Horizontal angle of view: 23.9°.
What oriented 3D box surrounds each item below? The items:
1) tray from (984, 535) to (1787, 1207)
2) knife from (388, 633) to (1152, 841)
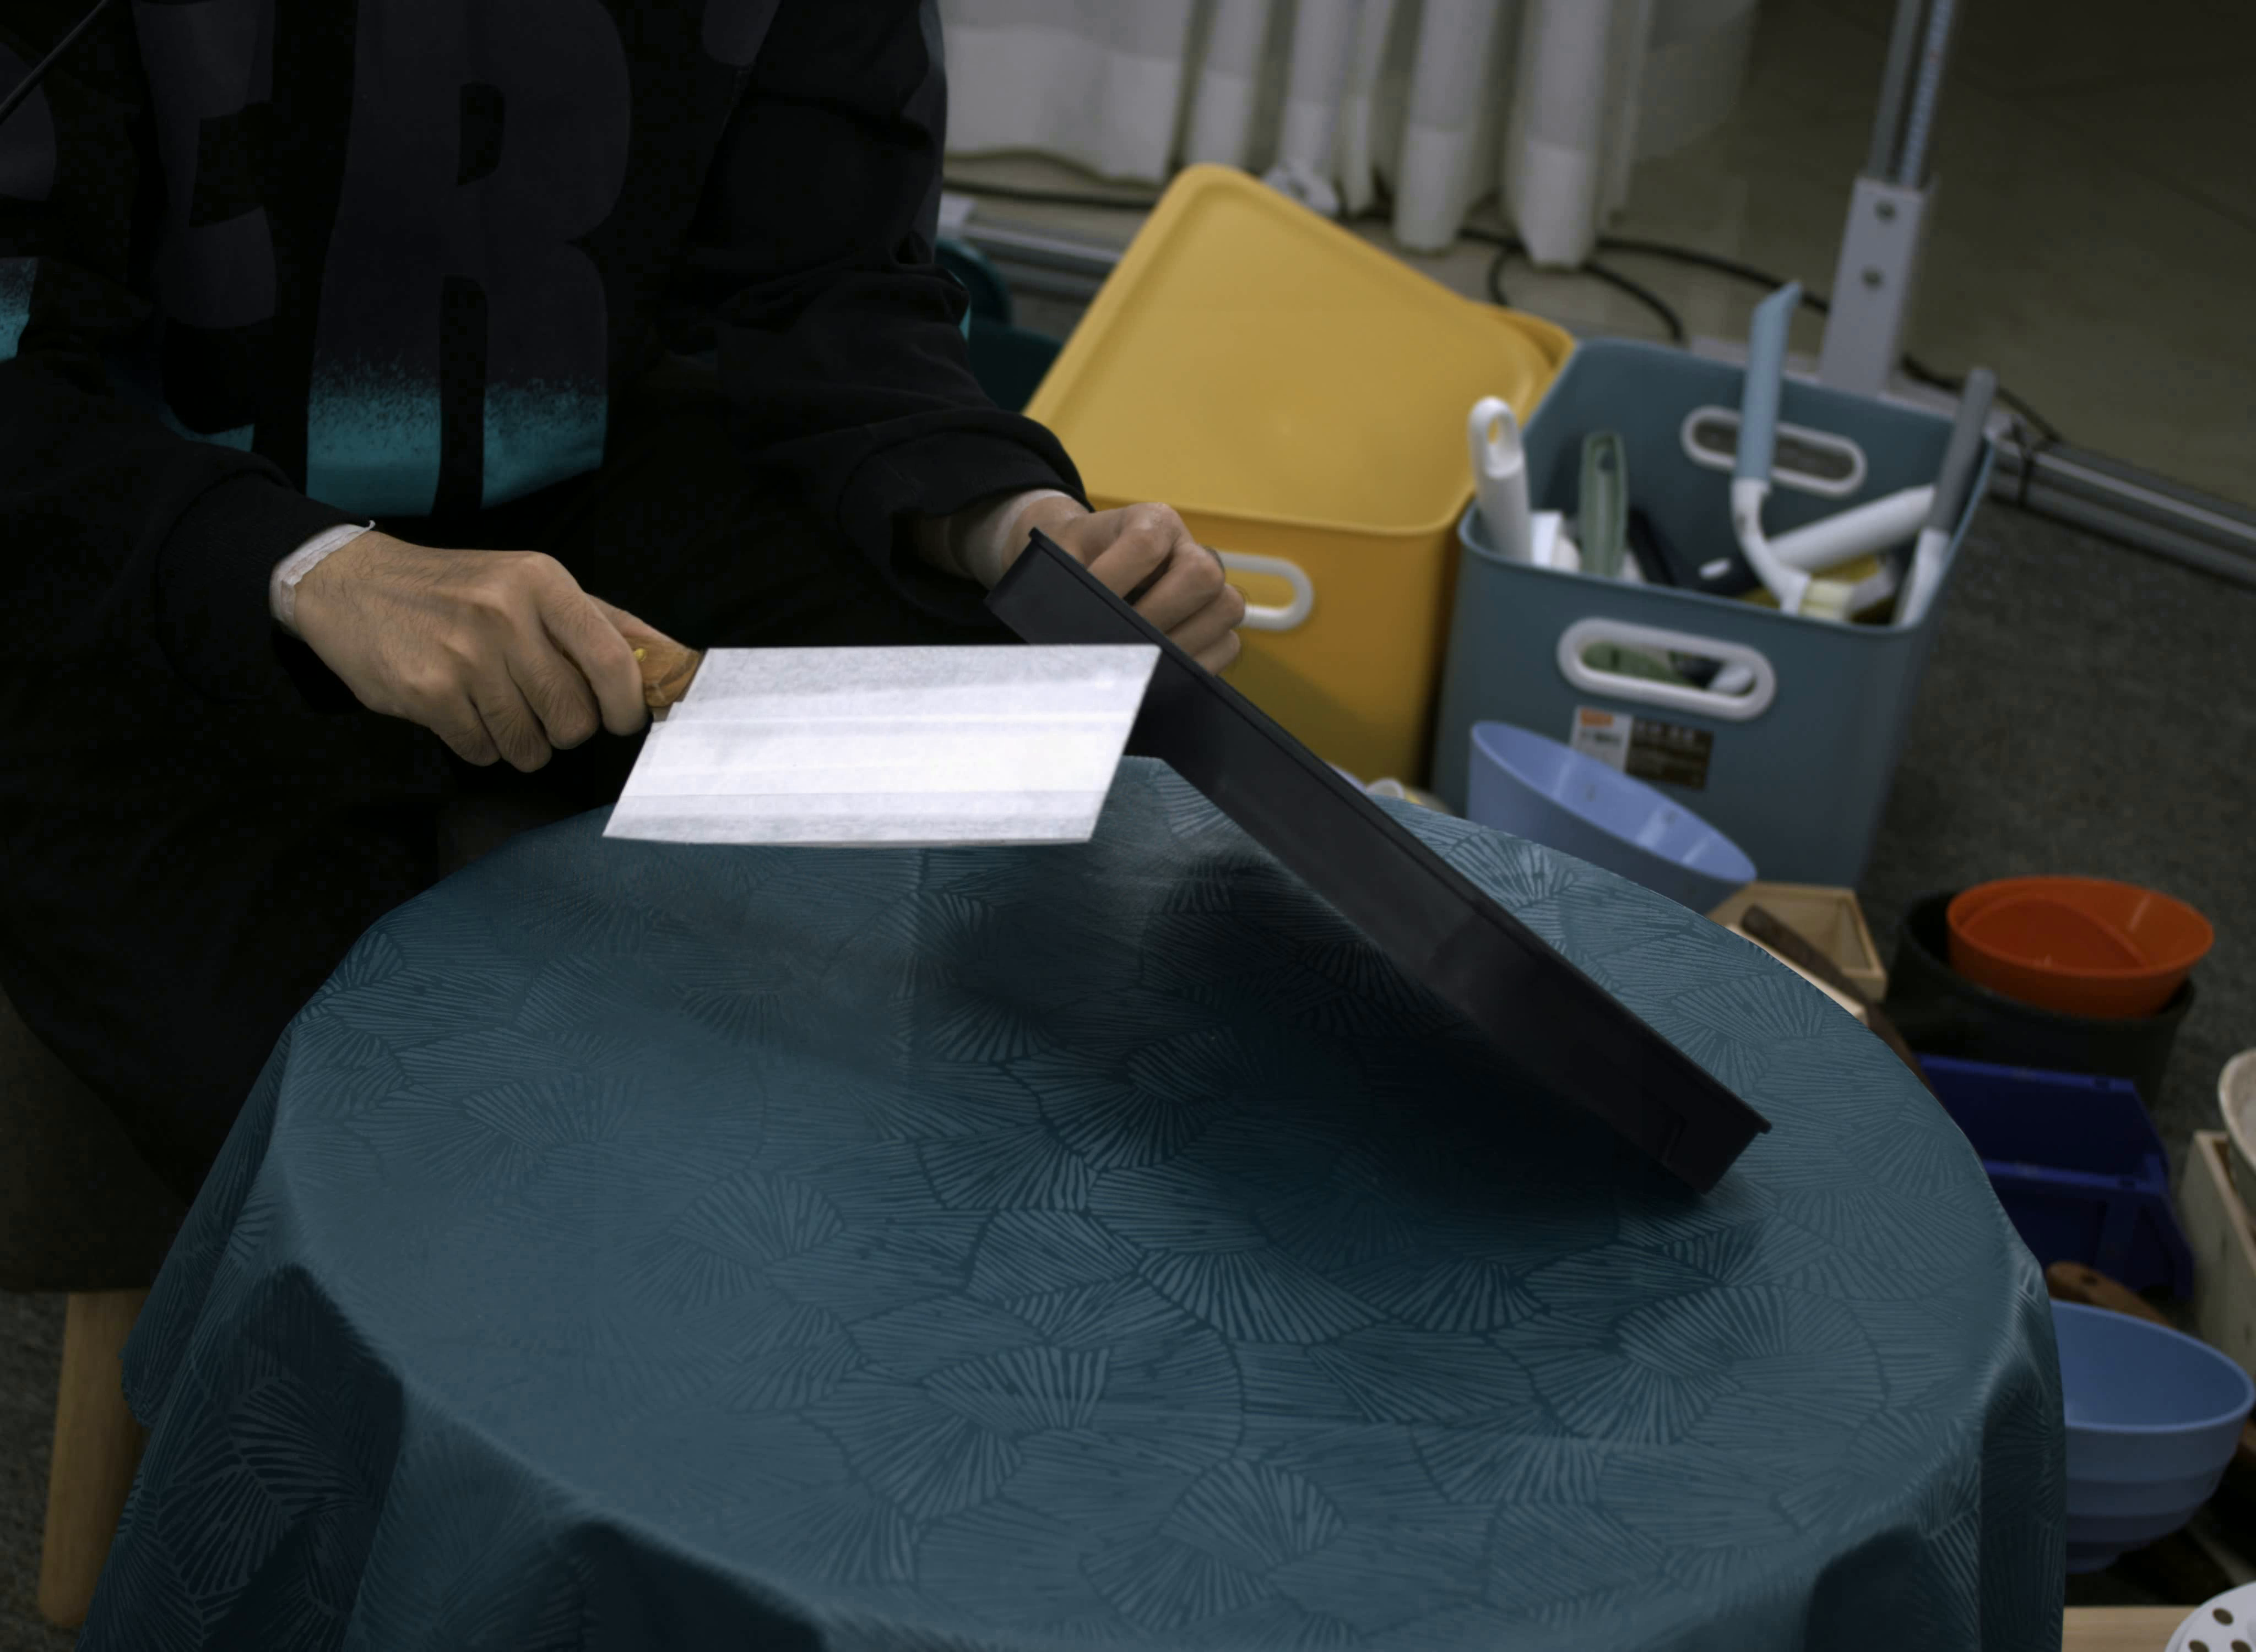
[{"bbox_3d":[0.086,0.013,1.877,0.182,0.037,0.321,36,4,-46],"label":"tray"},{"bbox_3d":[-0.137,-0.031,1.881,0.306,0.021,0.093,1,49,25],"label":"knife"}]
